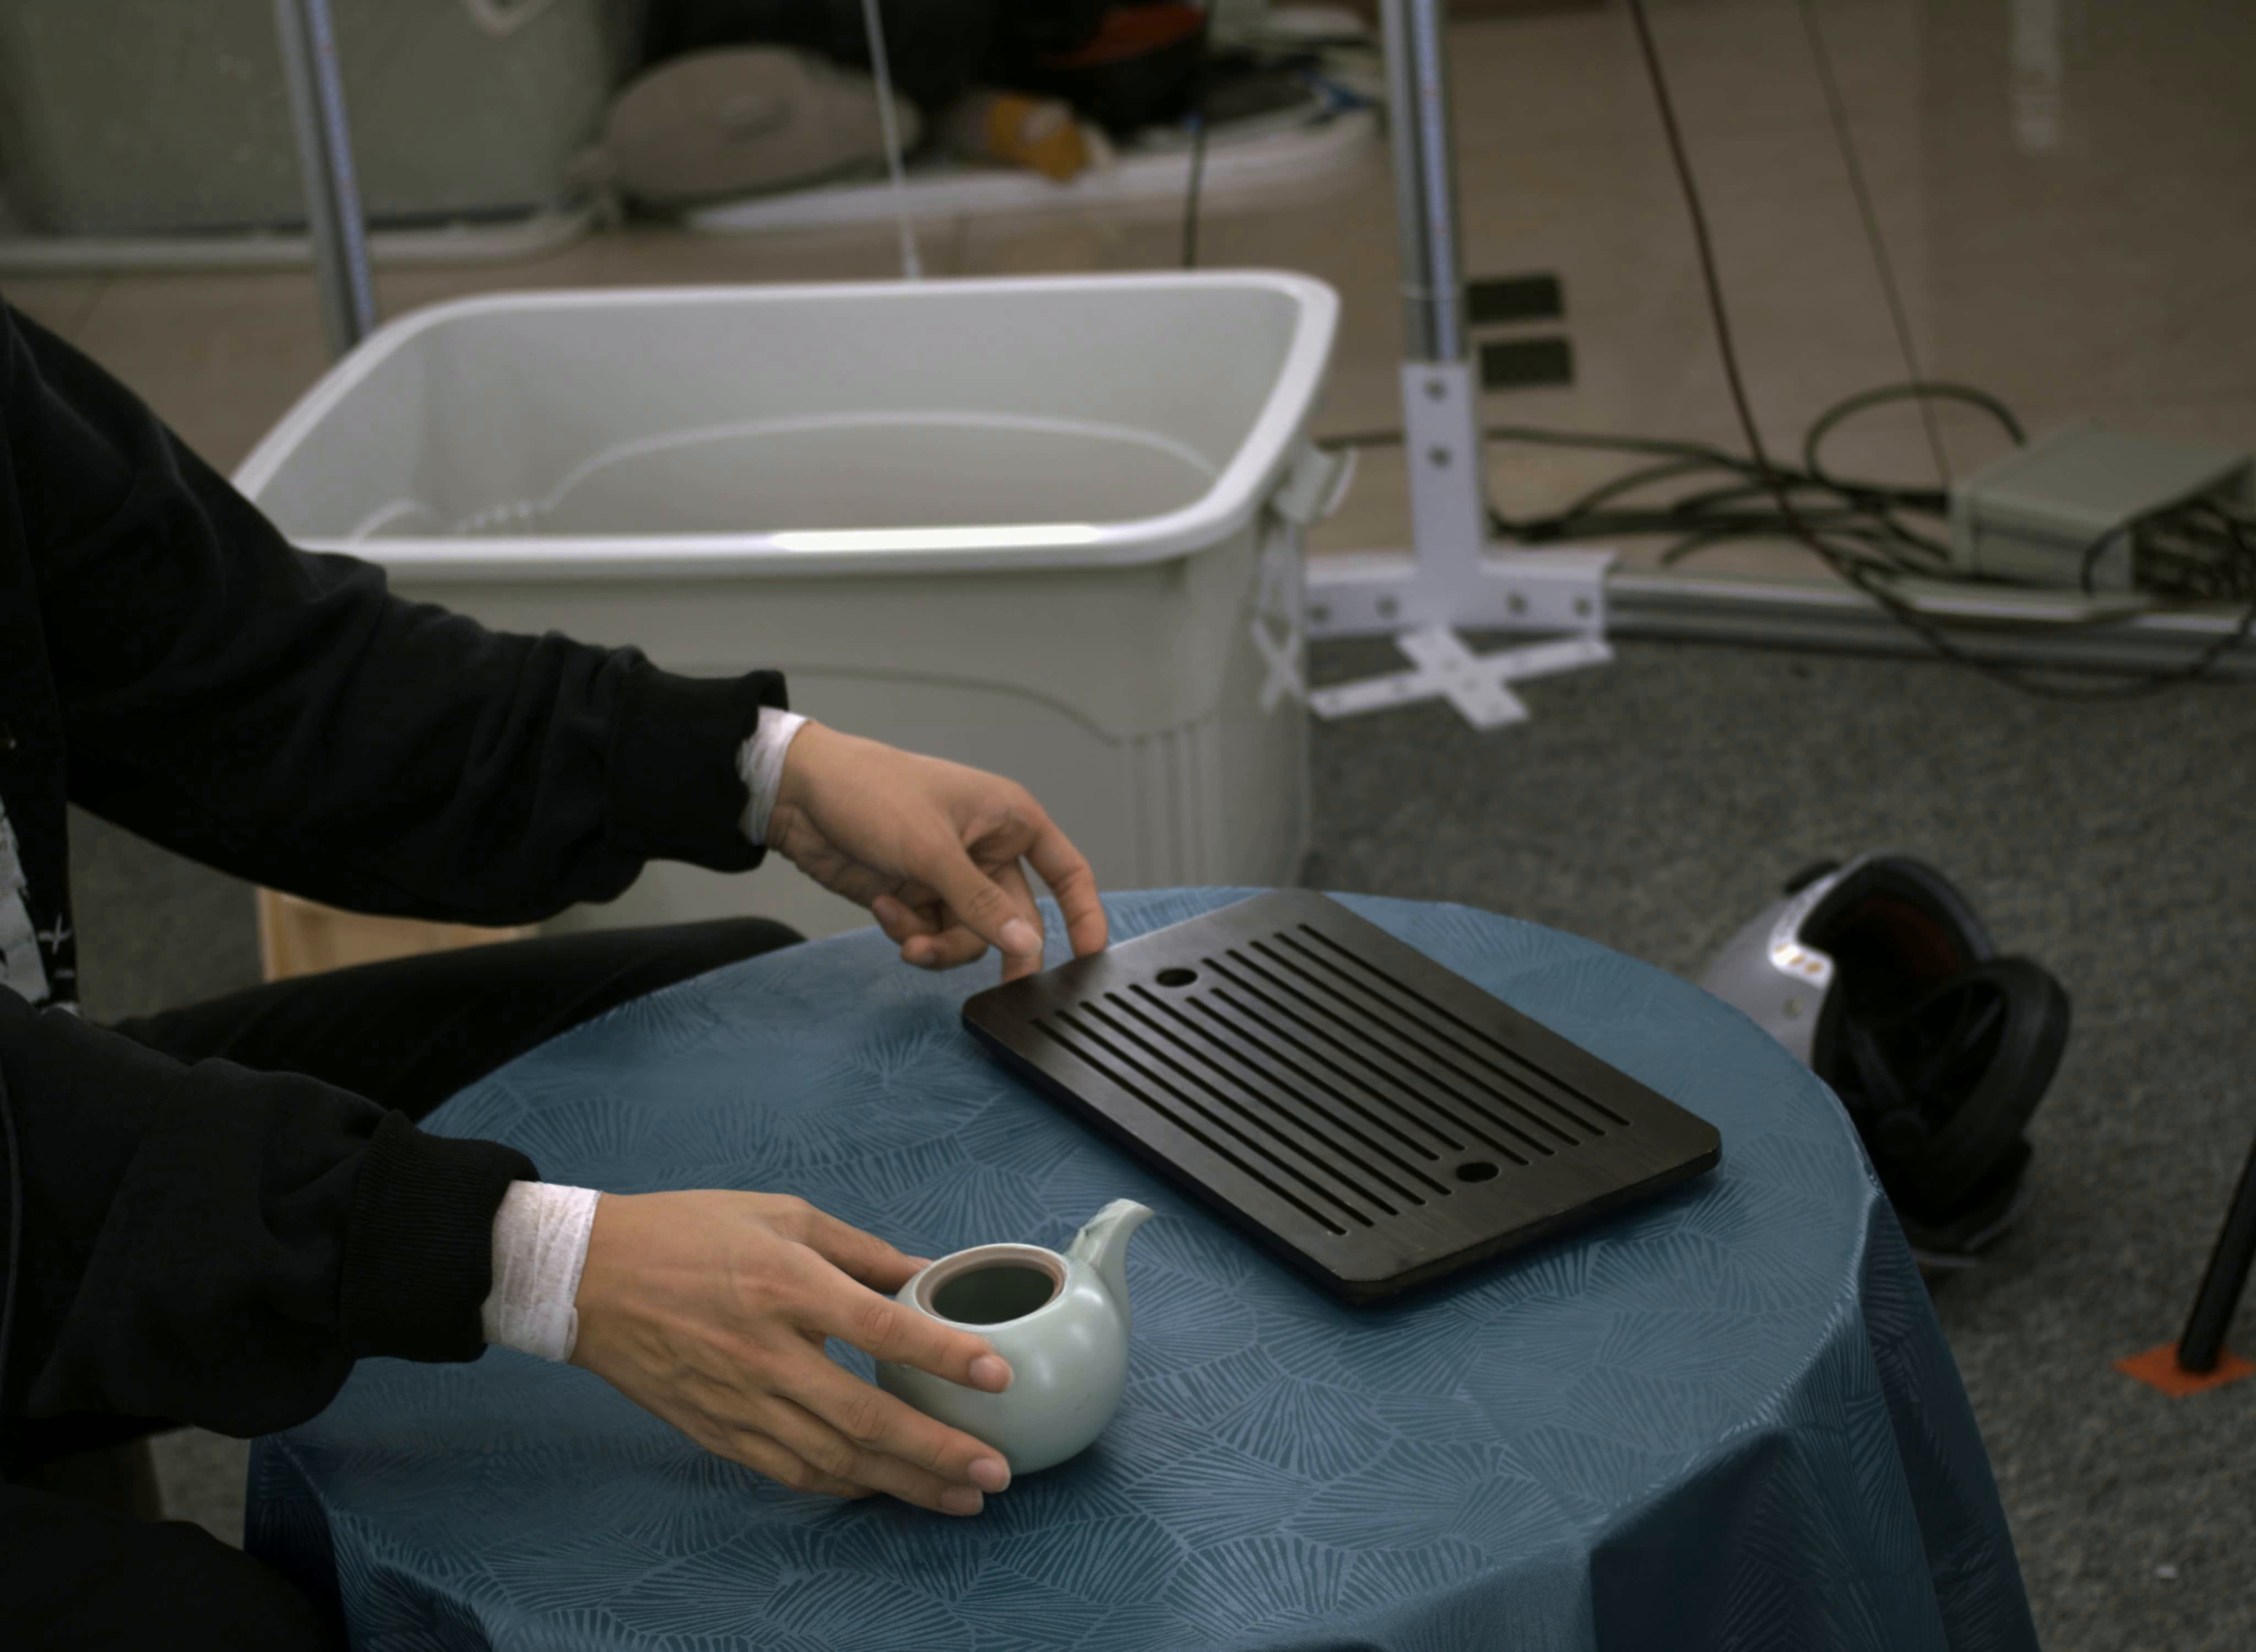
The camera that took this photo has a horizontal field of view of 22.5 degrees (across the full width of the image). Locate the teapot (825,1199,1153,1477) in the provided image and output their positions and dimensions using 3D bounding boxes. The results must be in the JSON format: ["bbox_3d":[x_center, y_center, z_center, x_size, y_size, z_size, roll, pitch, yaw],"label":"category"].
[{"bbox_3d":[-0.045,0.185,1.975,0.143,0.076,0.087,-21,29,-32],"label":"teapot"}]

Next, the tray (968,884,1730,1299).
[{"bbox_3d":[0.080,0.100,2.193,0.169,0.019,0.302,-19,27,-25],"label":"tray"}]
